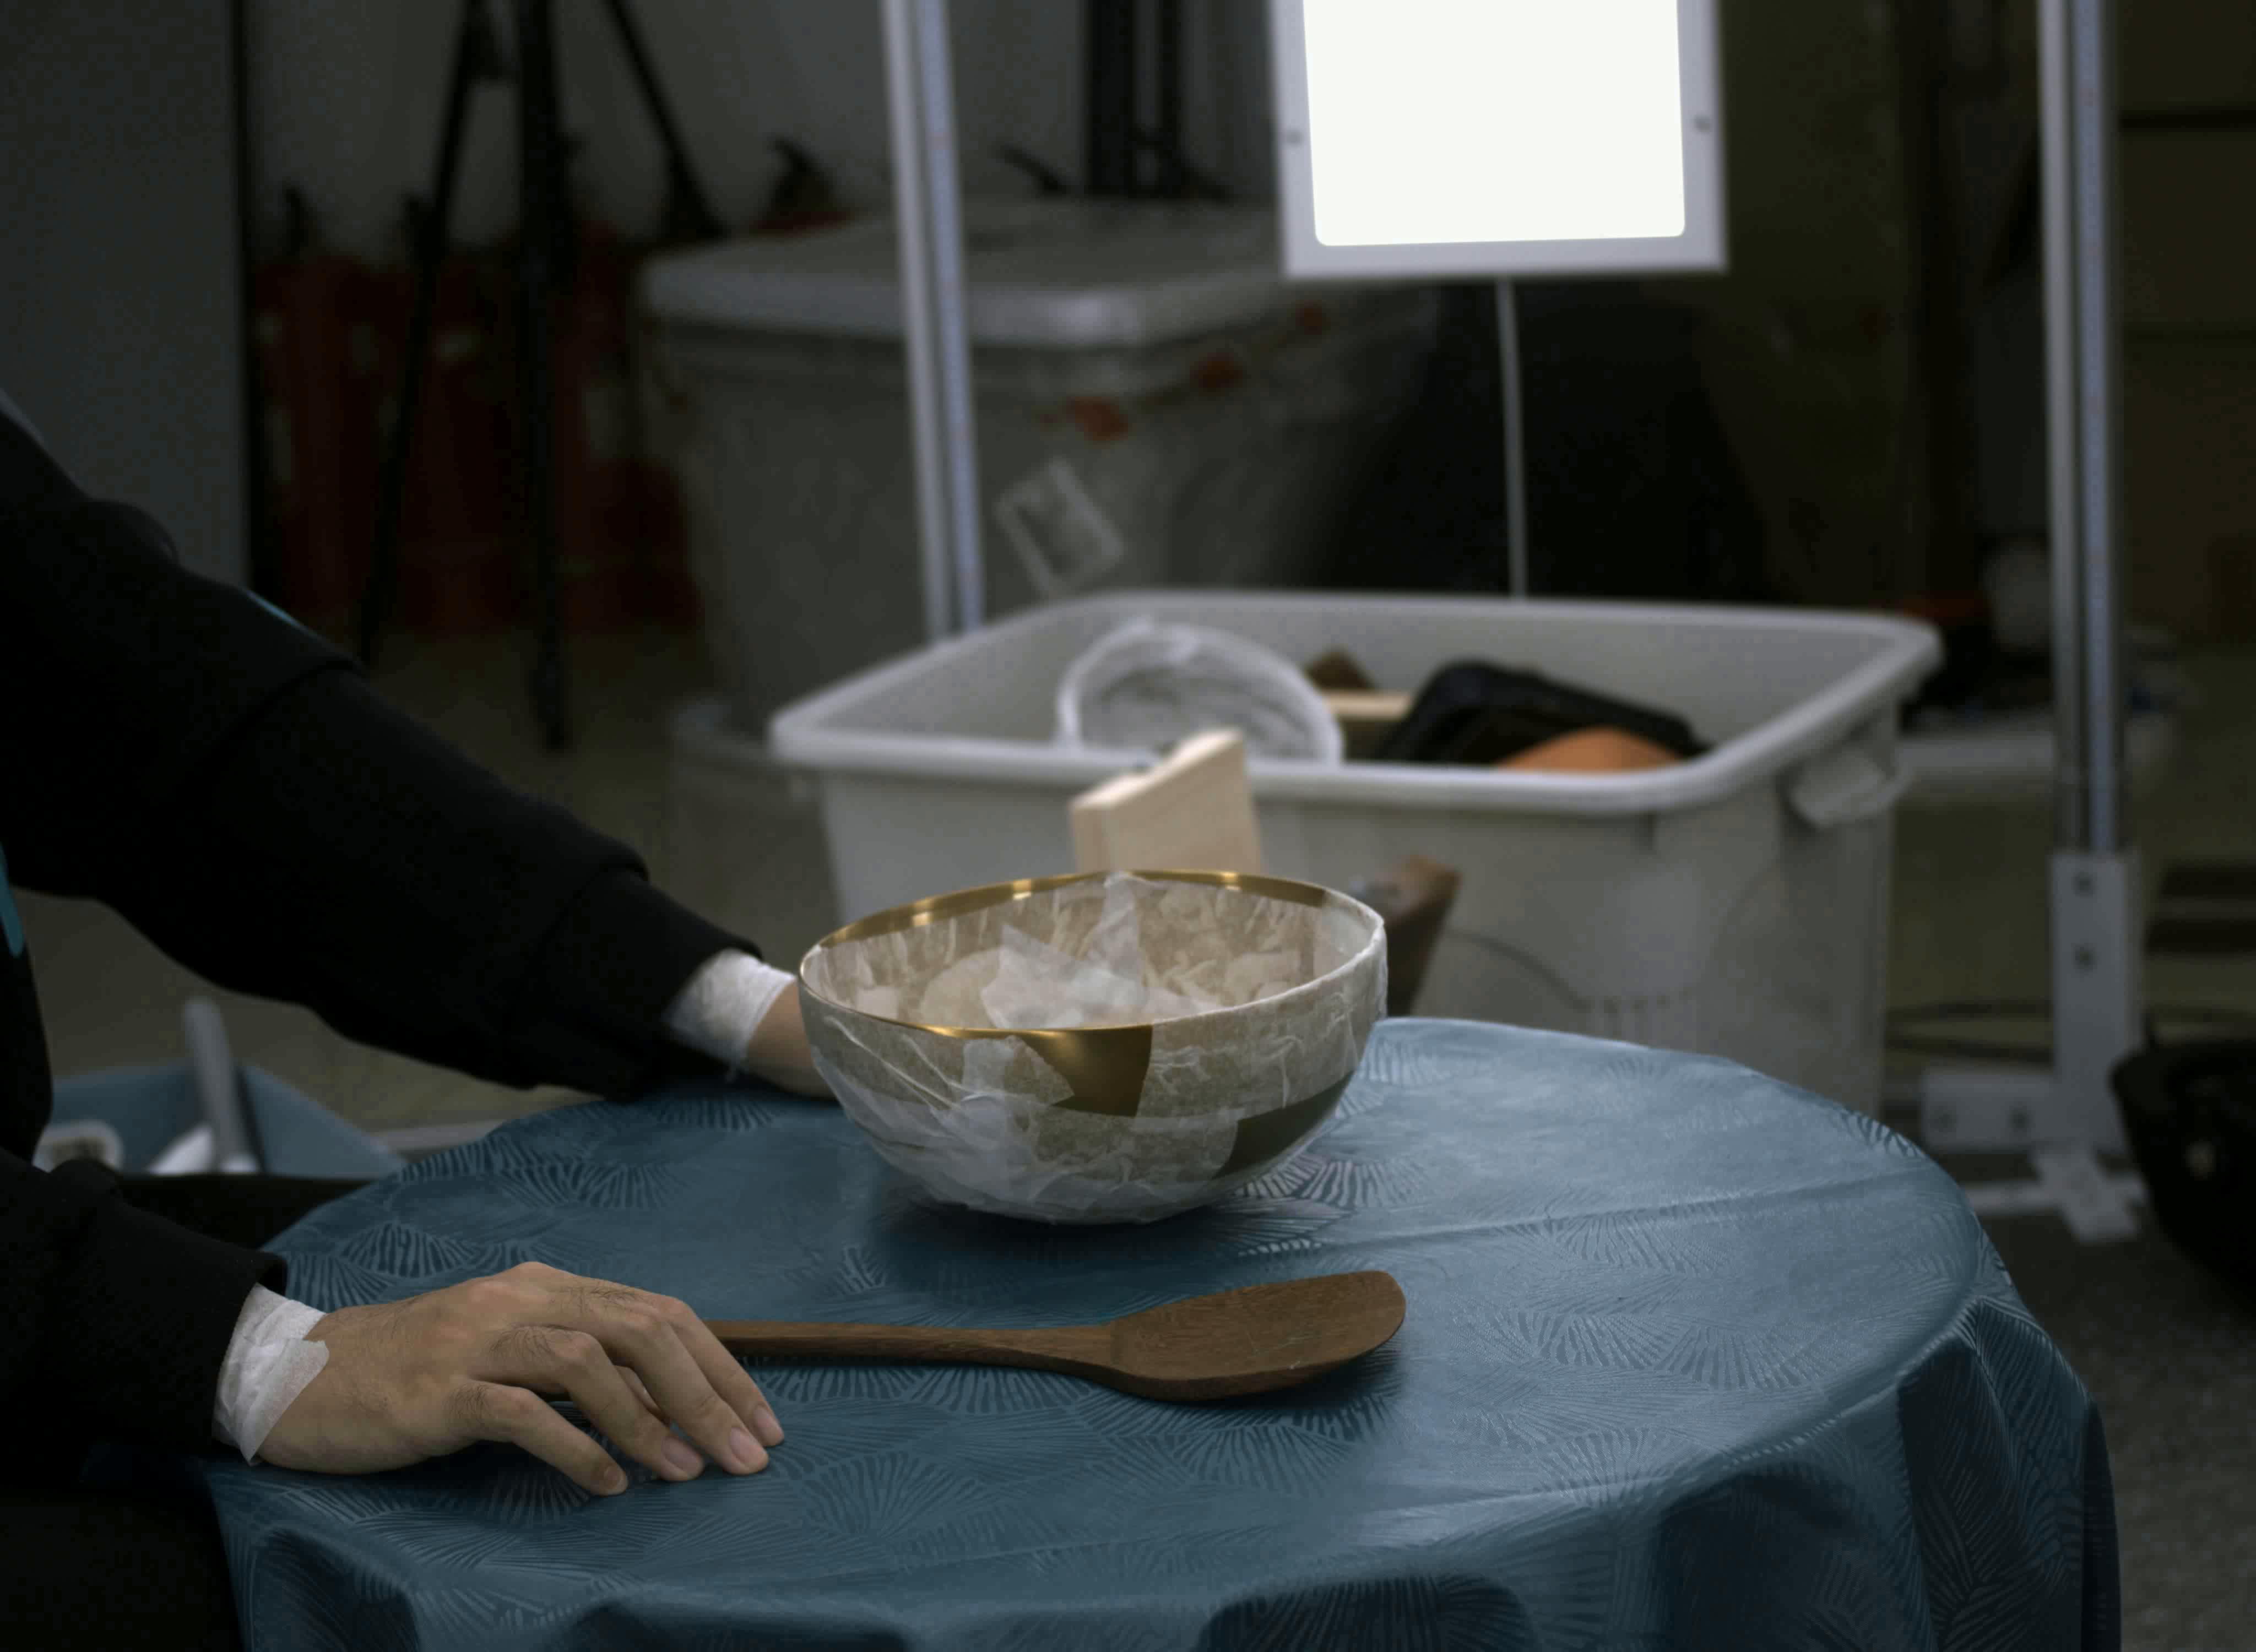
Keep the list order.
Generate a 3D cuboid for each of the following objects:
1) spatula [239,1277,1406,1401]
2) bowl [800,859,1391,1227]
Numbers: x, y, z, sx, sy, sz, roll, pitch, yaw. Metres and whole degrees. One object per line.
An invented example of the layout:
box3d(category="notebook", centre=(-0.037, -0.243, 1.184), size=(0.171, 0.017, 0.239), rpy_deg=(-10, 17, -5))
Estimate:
box3d(category="spatula", centre=(-0.102, 0.163, 1.754), size=(0.389, 0.016, 0.095), rpy_deg=(-1, 14, 15))
box3d(category="bowl", centre=(-0.010, 0.081, 1.887), size=(0.214, 0.095, 0.214), rpy_deg=(-6, 15, 0))
